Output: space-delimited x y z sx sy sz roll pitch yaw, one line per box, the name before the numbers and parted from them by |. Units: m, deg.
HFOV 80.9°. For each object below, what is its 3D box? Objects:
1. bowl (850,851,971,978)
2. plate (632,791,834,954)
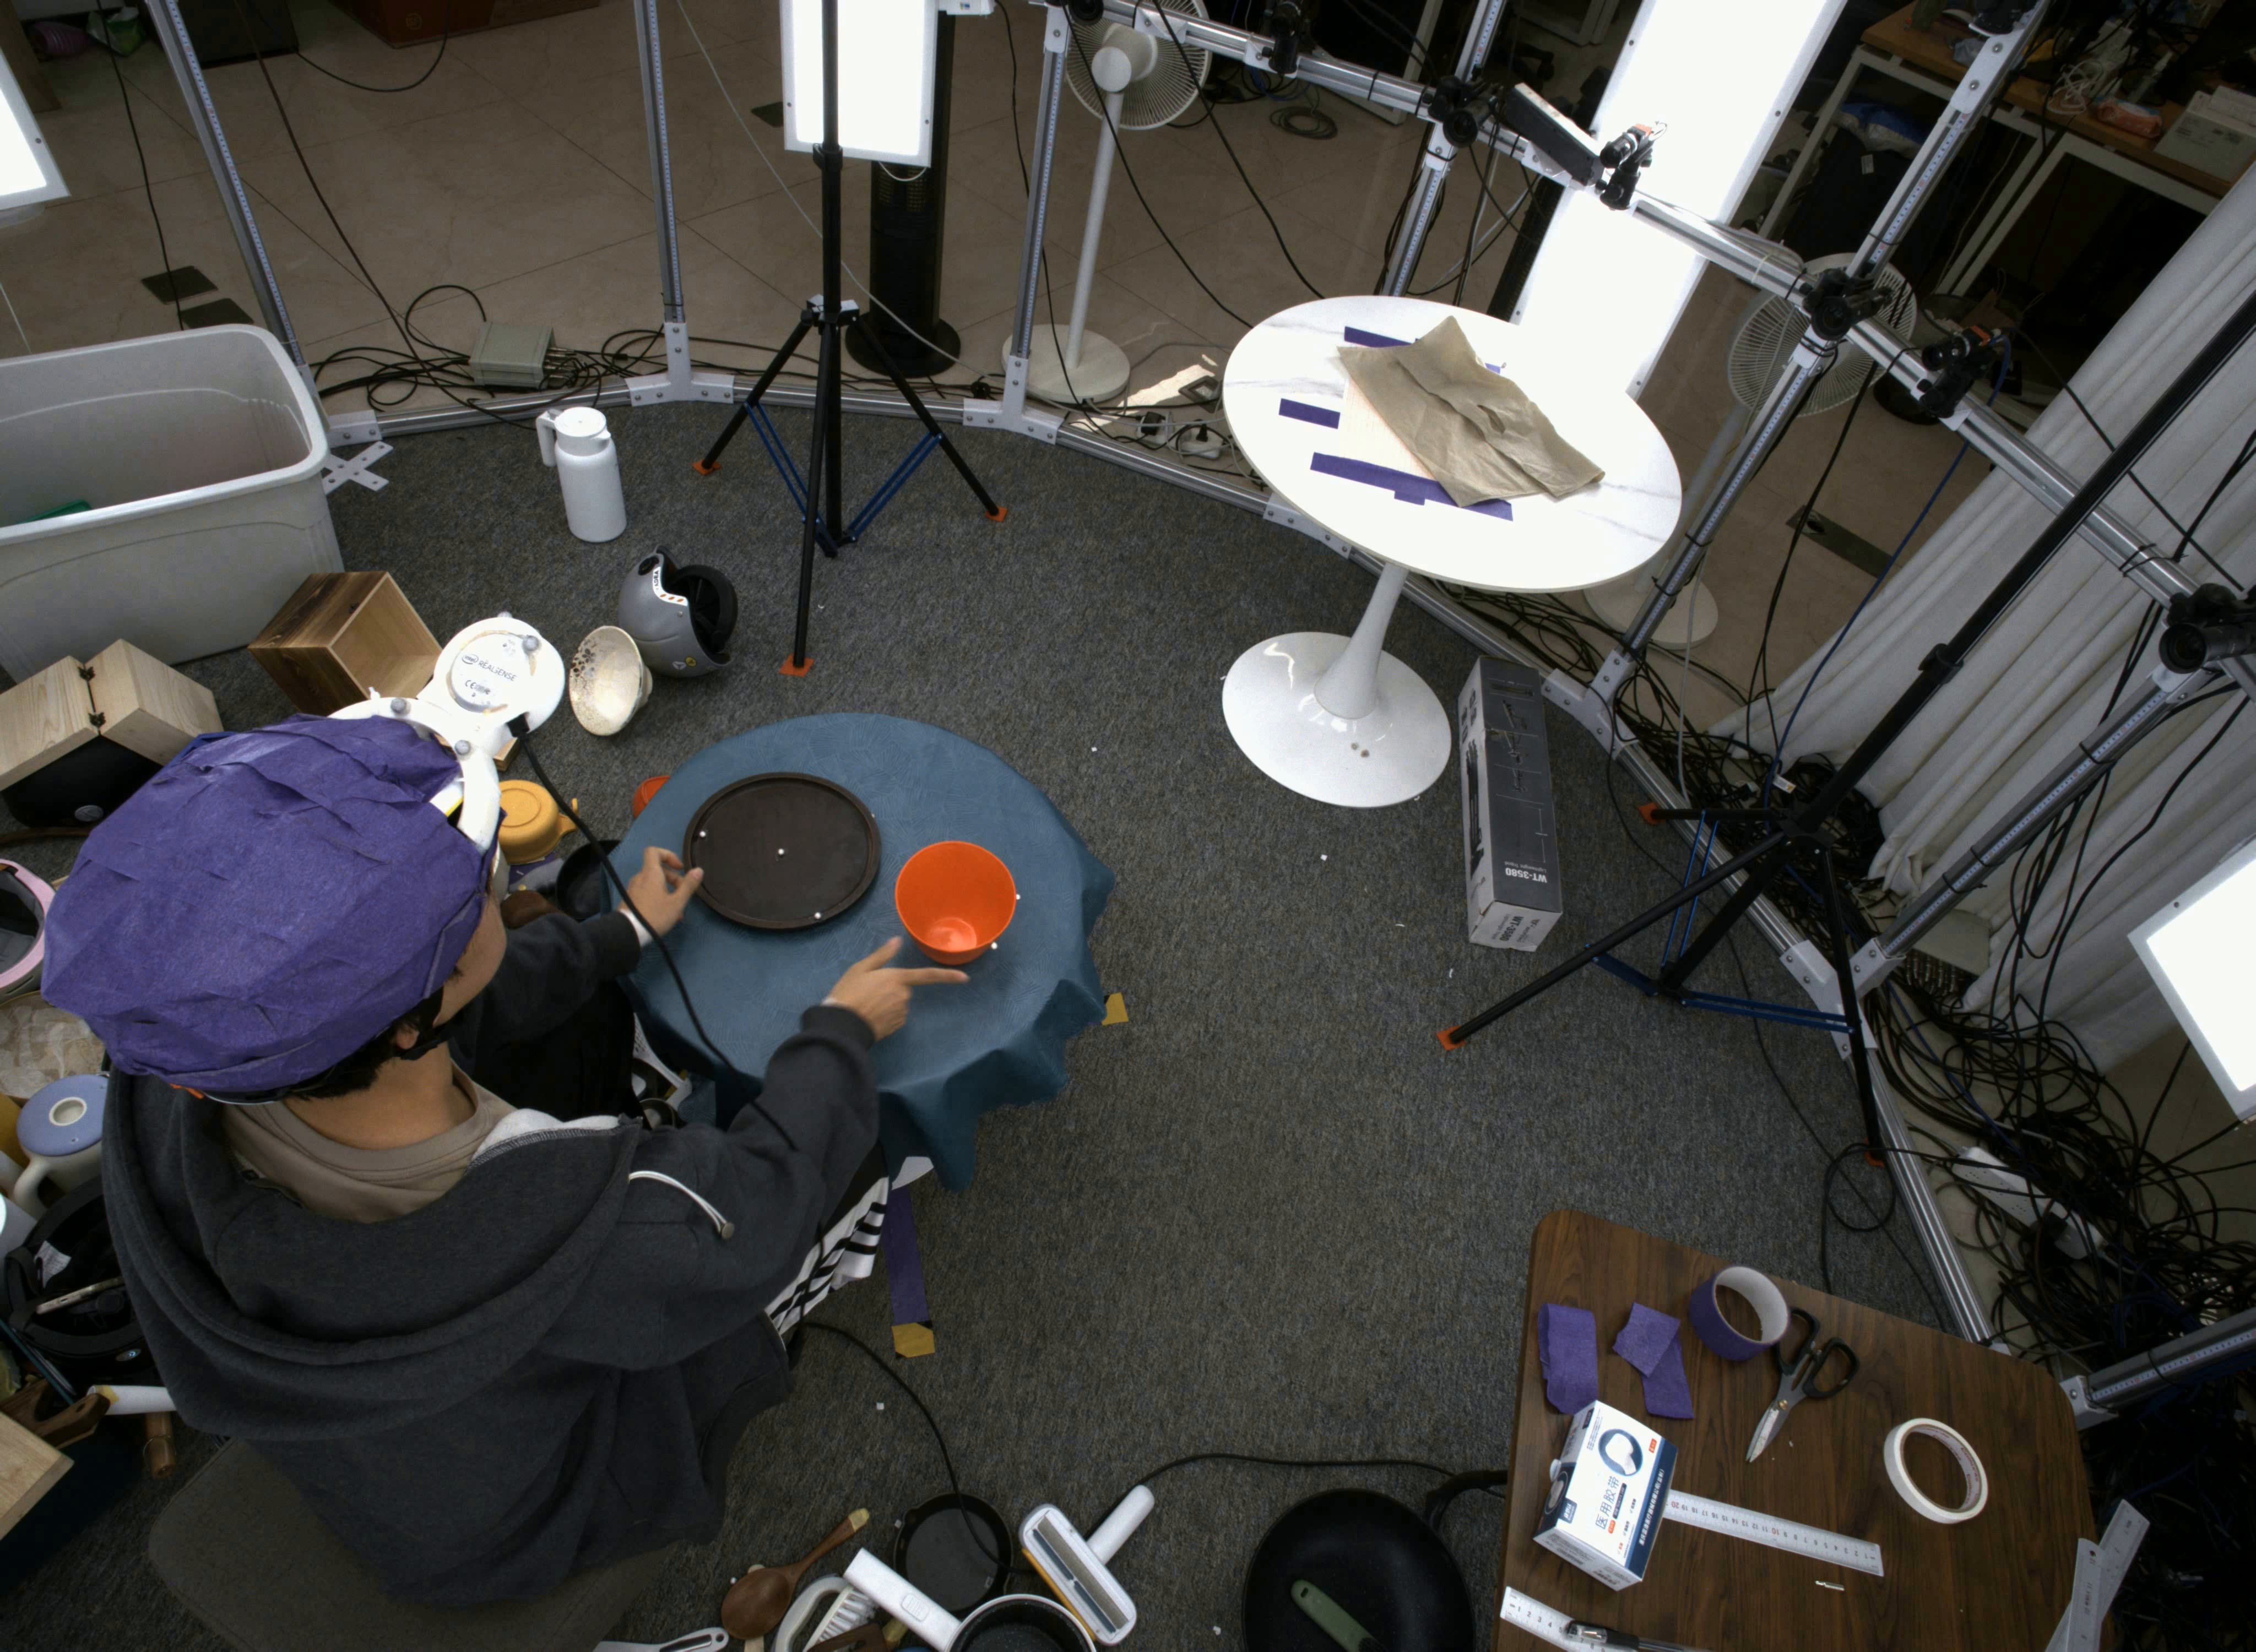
bowl | -0.270 0.120 1.613 0.148 0.107 0.145 8 51 -9
plate | -0.504 0.055 1.652 0.254 0.029 0.250 9 53 -10
